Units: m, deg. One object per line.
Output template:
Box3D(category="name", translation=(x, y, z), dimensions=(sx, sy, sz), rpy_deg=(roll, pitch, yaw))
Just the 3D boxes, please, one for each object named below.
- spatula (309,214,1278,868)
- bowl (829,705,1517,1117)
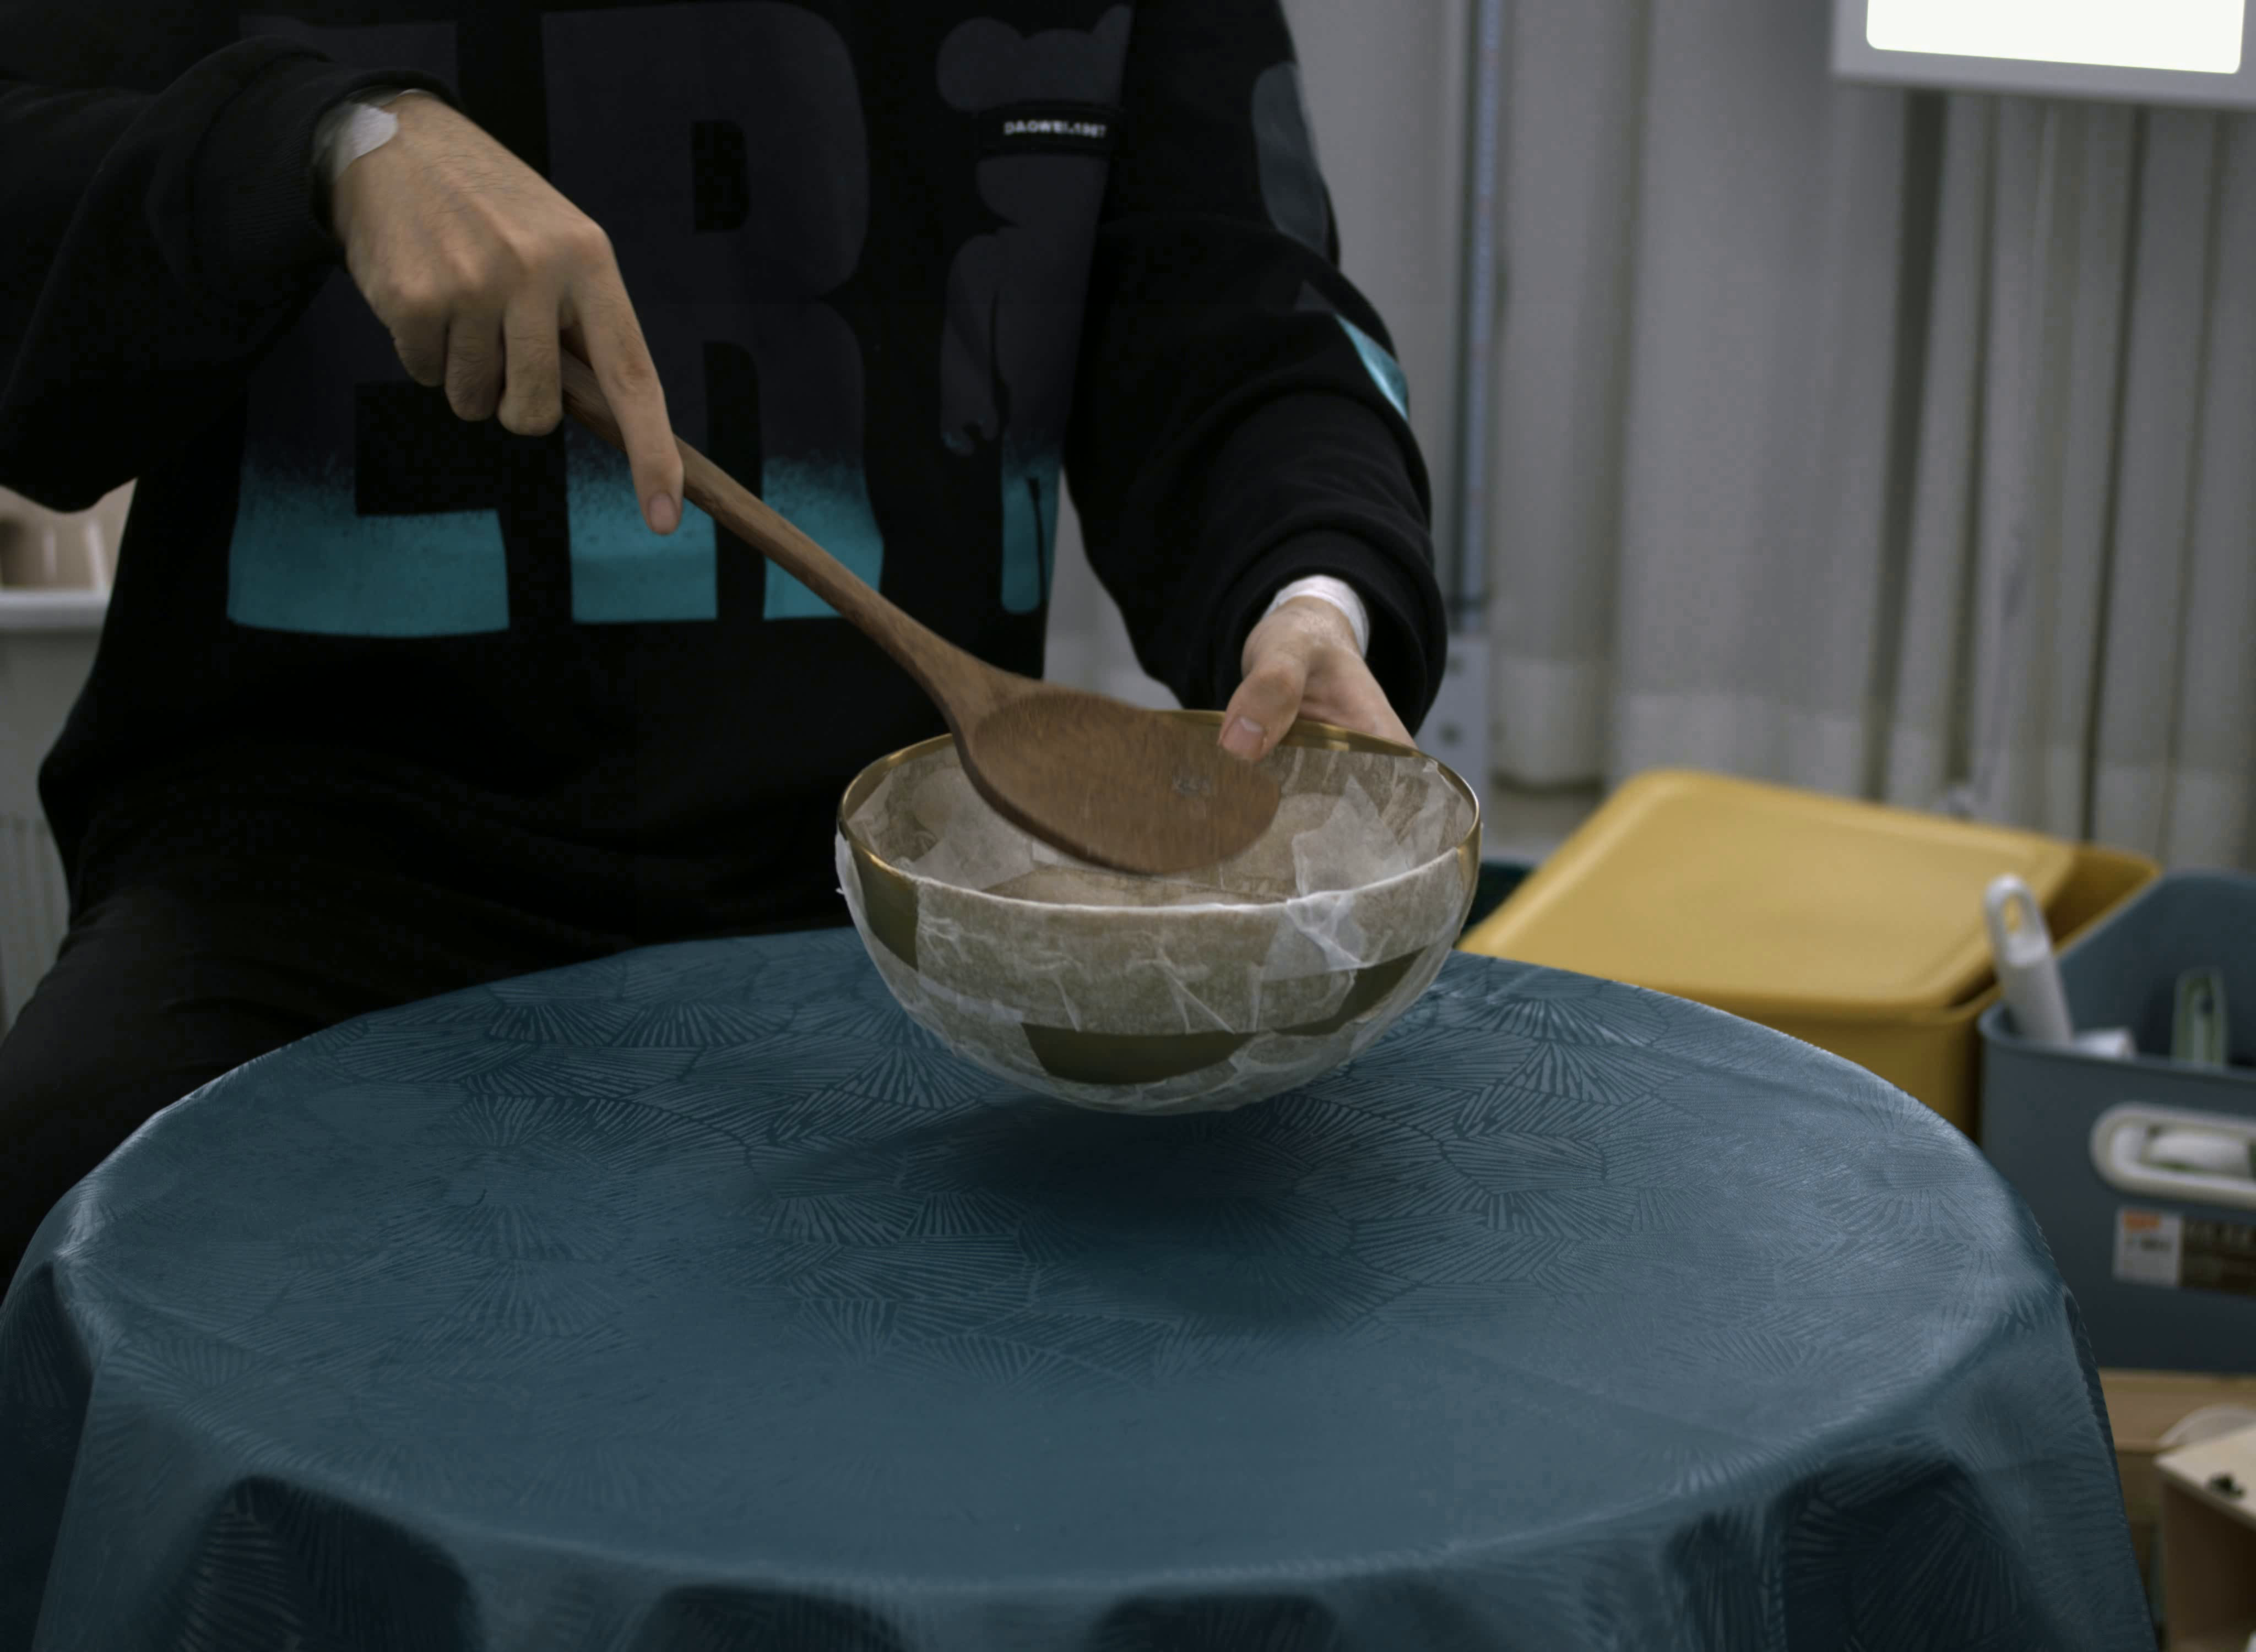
Box3D(category="spatula", translation=(-0.117, -0.097, 1.671), dimensions=(0.382, 0.016, 0.096), rpy_deg=(35, 35, 18))
Box3D(category="bowl", translation=(0.013, 0.035, 1.637), dimensions=(0.214, 0.095, 0.213), rpy_deg=(-1, 18, 1))
